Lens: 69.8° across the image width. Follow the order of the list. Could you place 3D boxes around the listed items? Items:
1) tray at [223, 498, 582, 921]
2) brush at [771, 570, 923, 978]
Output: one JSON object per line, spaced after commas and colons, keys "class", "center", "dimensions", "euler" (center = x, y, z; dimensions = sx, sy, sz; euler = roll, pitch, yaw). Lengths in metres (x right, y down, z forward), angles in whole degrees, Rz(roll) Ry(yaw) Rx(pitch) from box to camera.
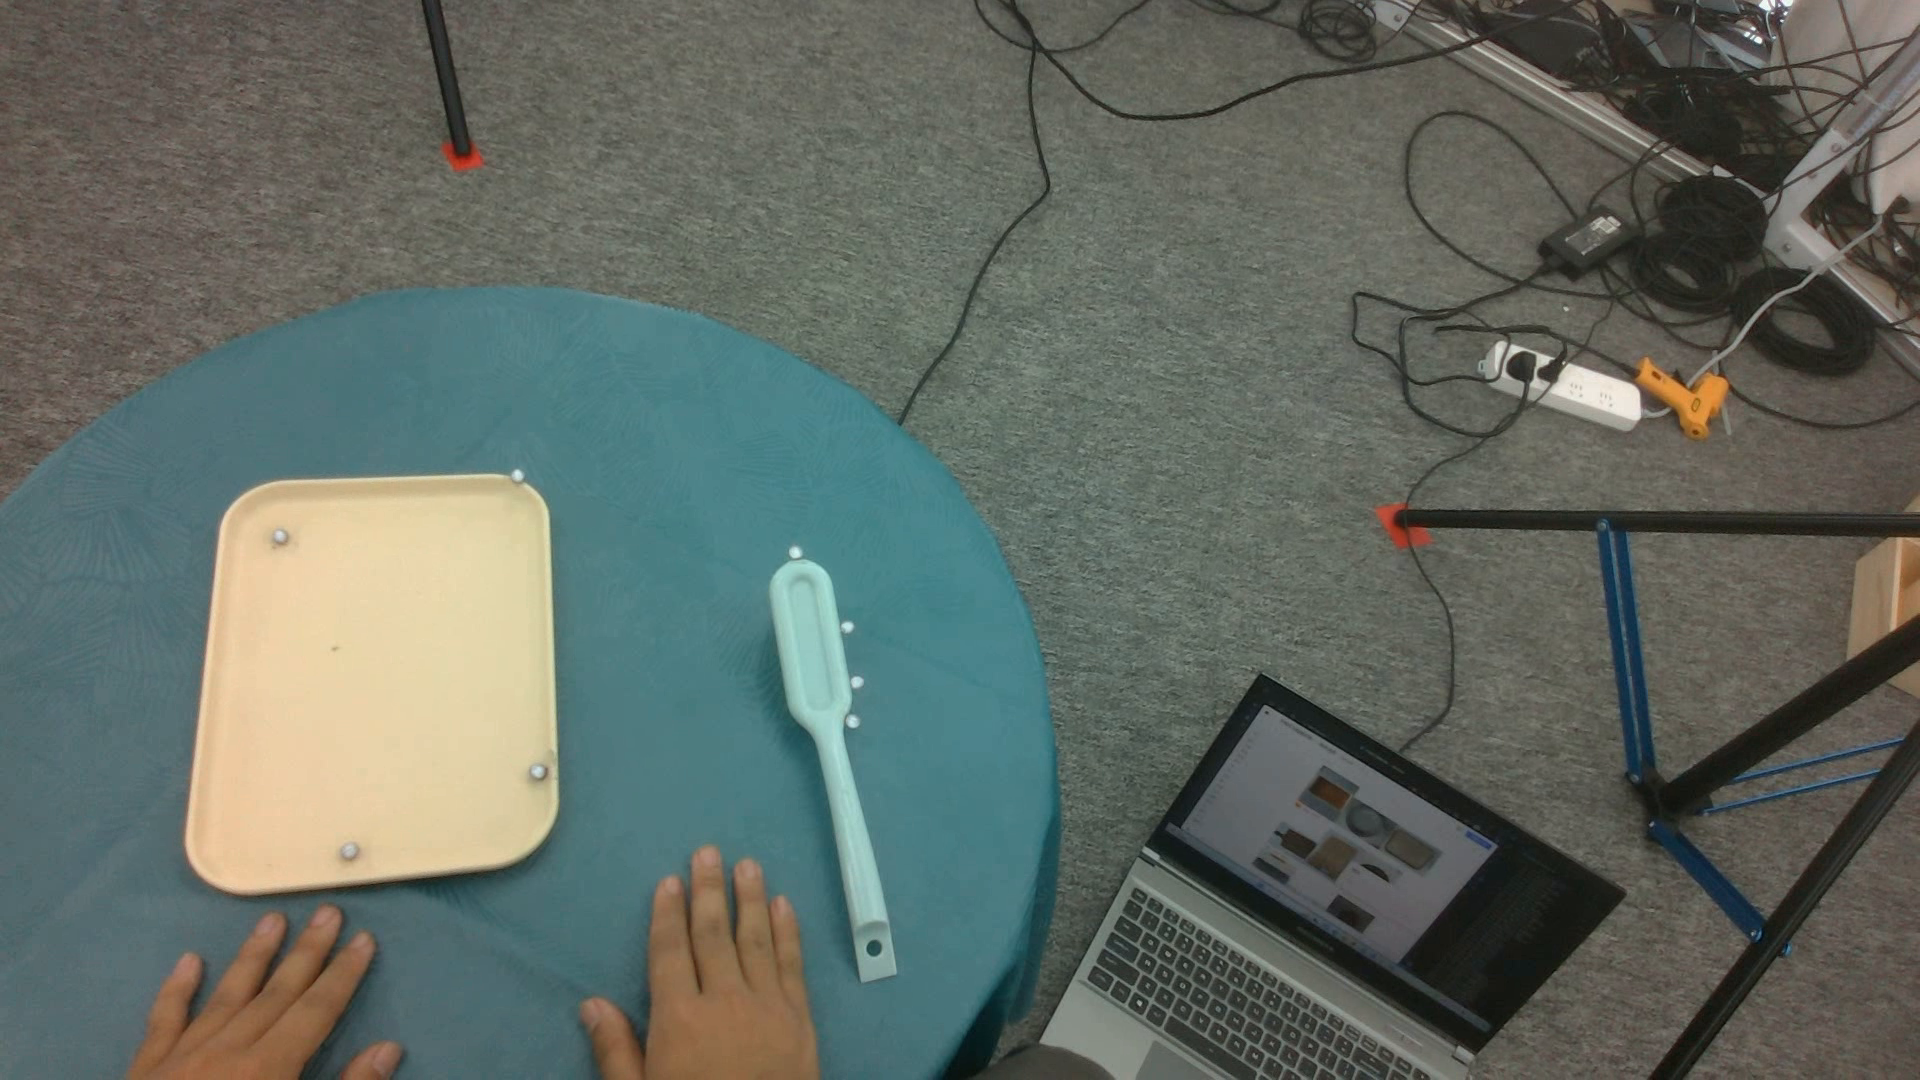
{"class": "tray", "center": [-0.300, 0.083, 0.746], "dimensions": [0.171, 0.017, 0.240], "euler": [-6, 57, -15]}
{"class": "brush", "center": [-0.061, 0.126, 0.759], "dimensions": [0.038, 0.049, 0.229], "euler": [-14, 68, -13]}
